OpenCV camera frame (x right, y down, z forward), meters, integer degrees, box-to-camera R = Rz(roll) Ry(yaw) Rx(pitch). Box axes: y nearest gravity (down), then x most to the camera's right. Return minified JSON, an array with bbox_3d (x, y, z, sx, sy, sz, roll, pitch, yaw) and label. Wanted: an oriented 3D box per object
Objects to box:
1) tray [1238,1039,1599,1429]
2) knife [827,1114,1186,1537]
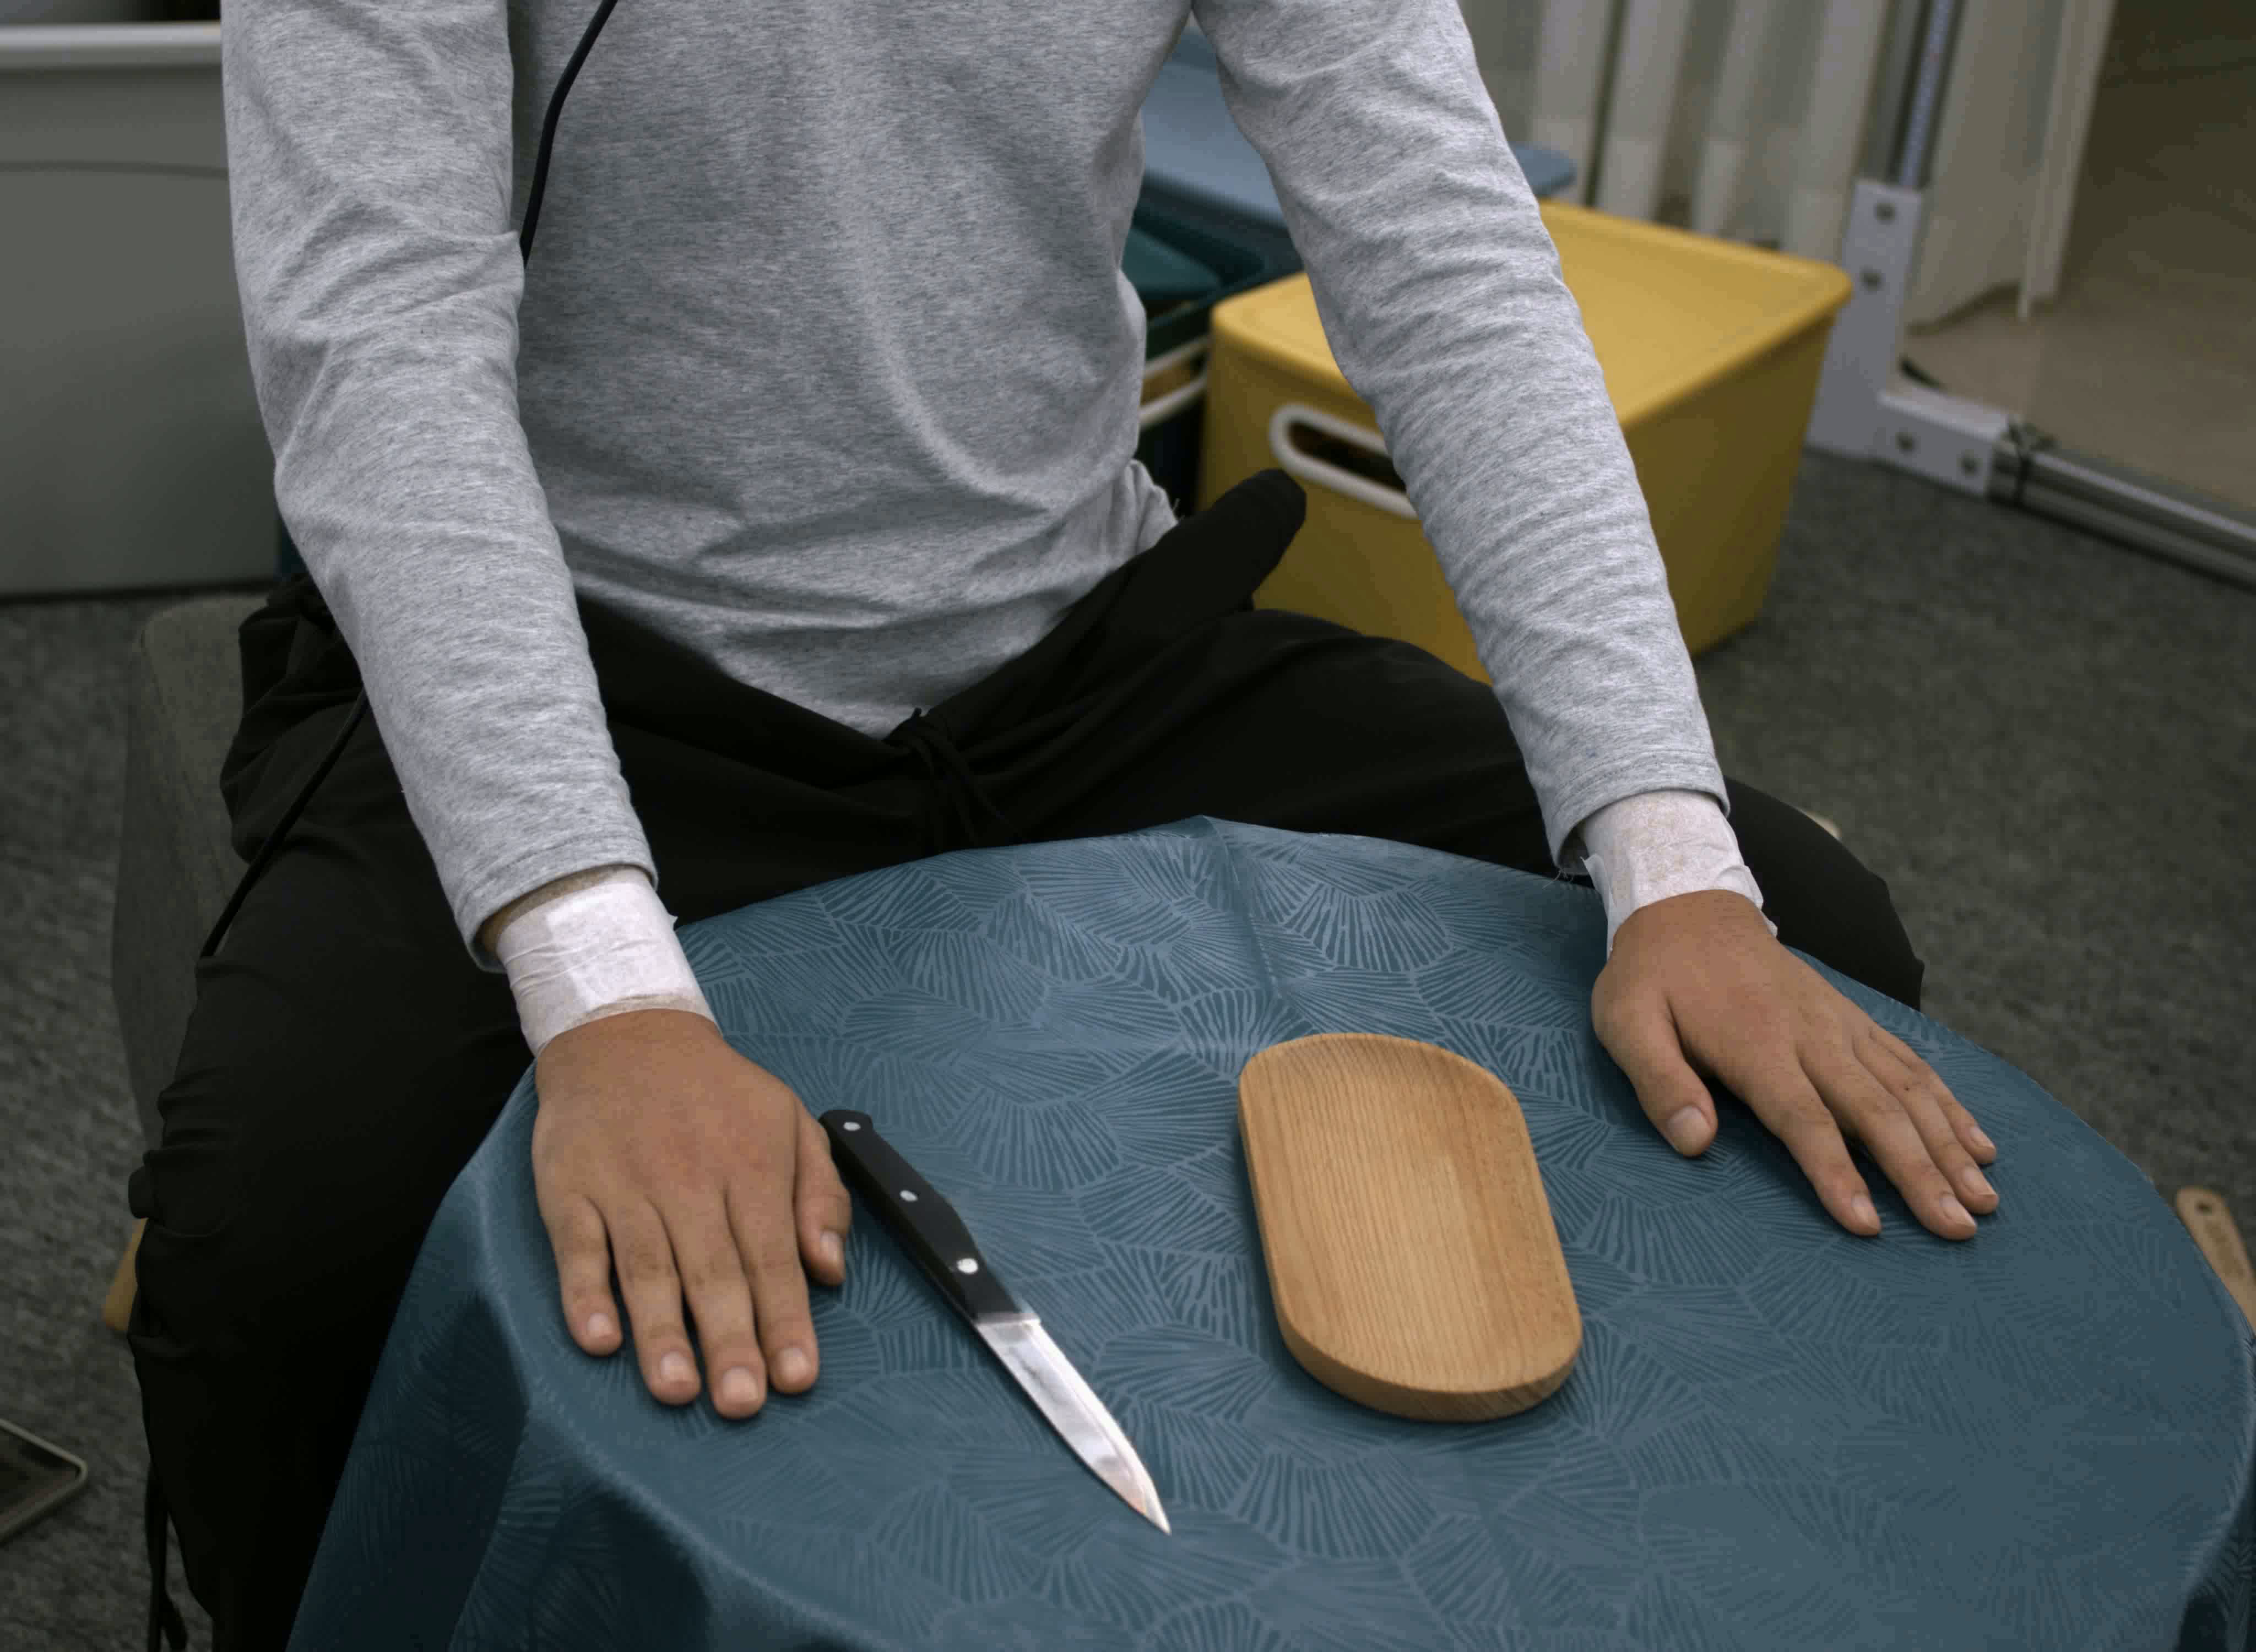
[{"bbox_3d":[0.095,0.135,1.789,0.101,0.020,0.233,1,28,-8],"label":"tray"},{"bbox_3d":[-0.042,0.160,1.713,0.024,0.016,0.240,-7,32,-29],"label":"knife"}]
